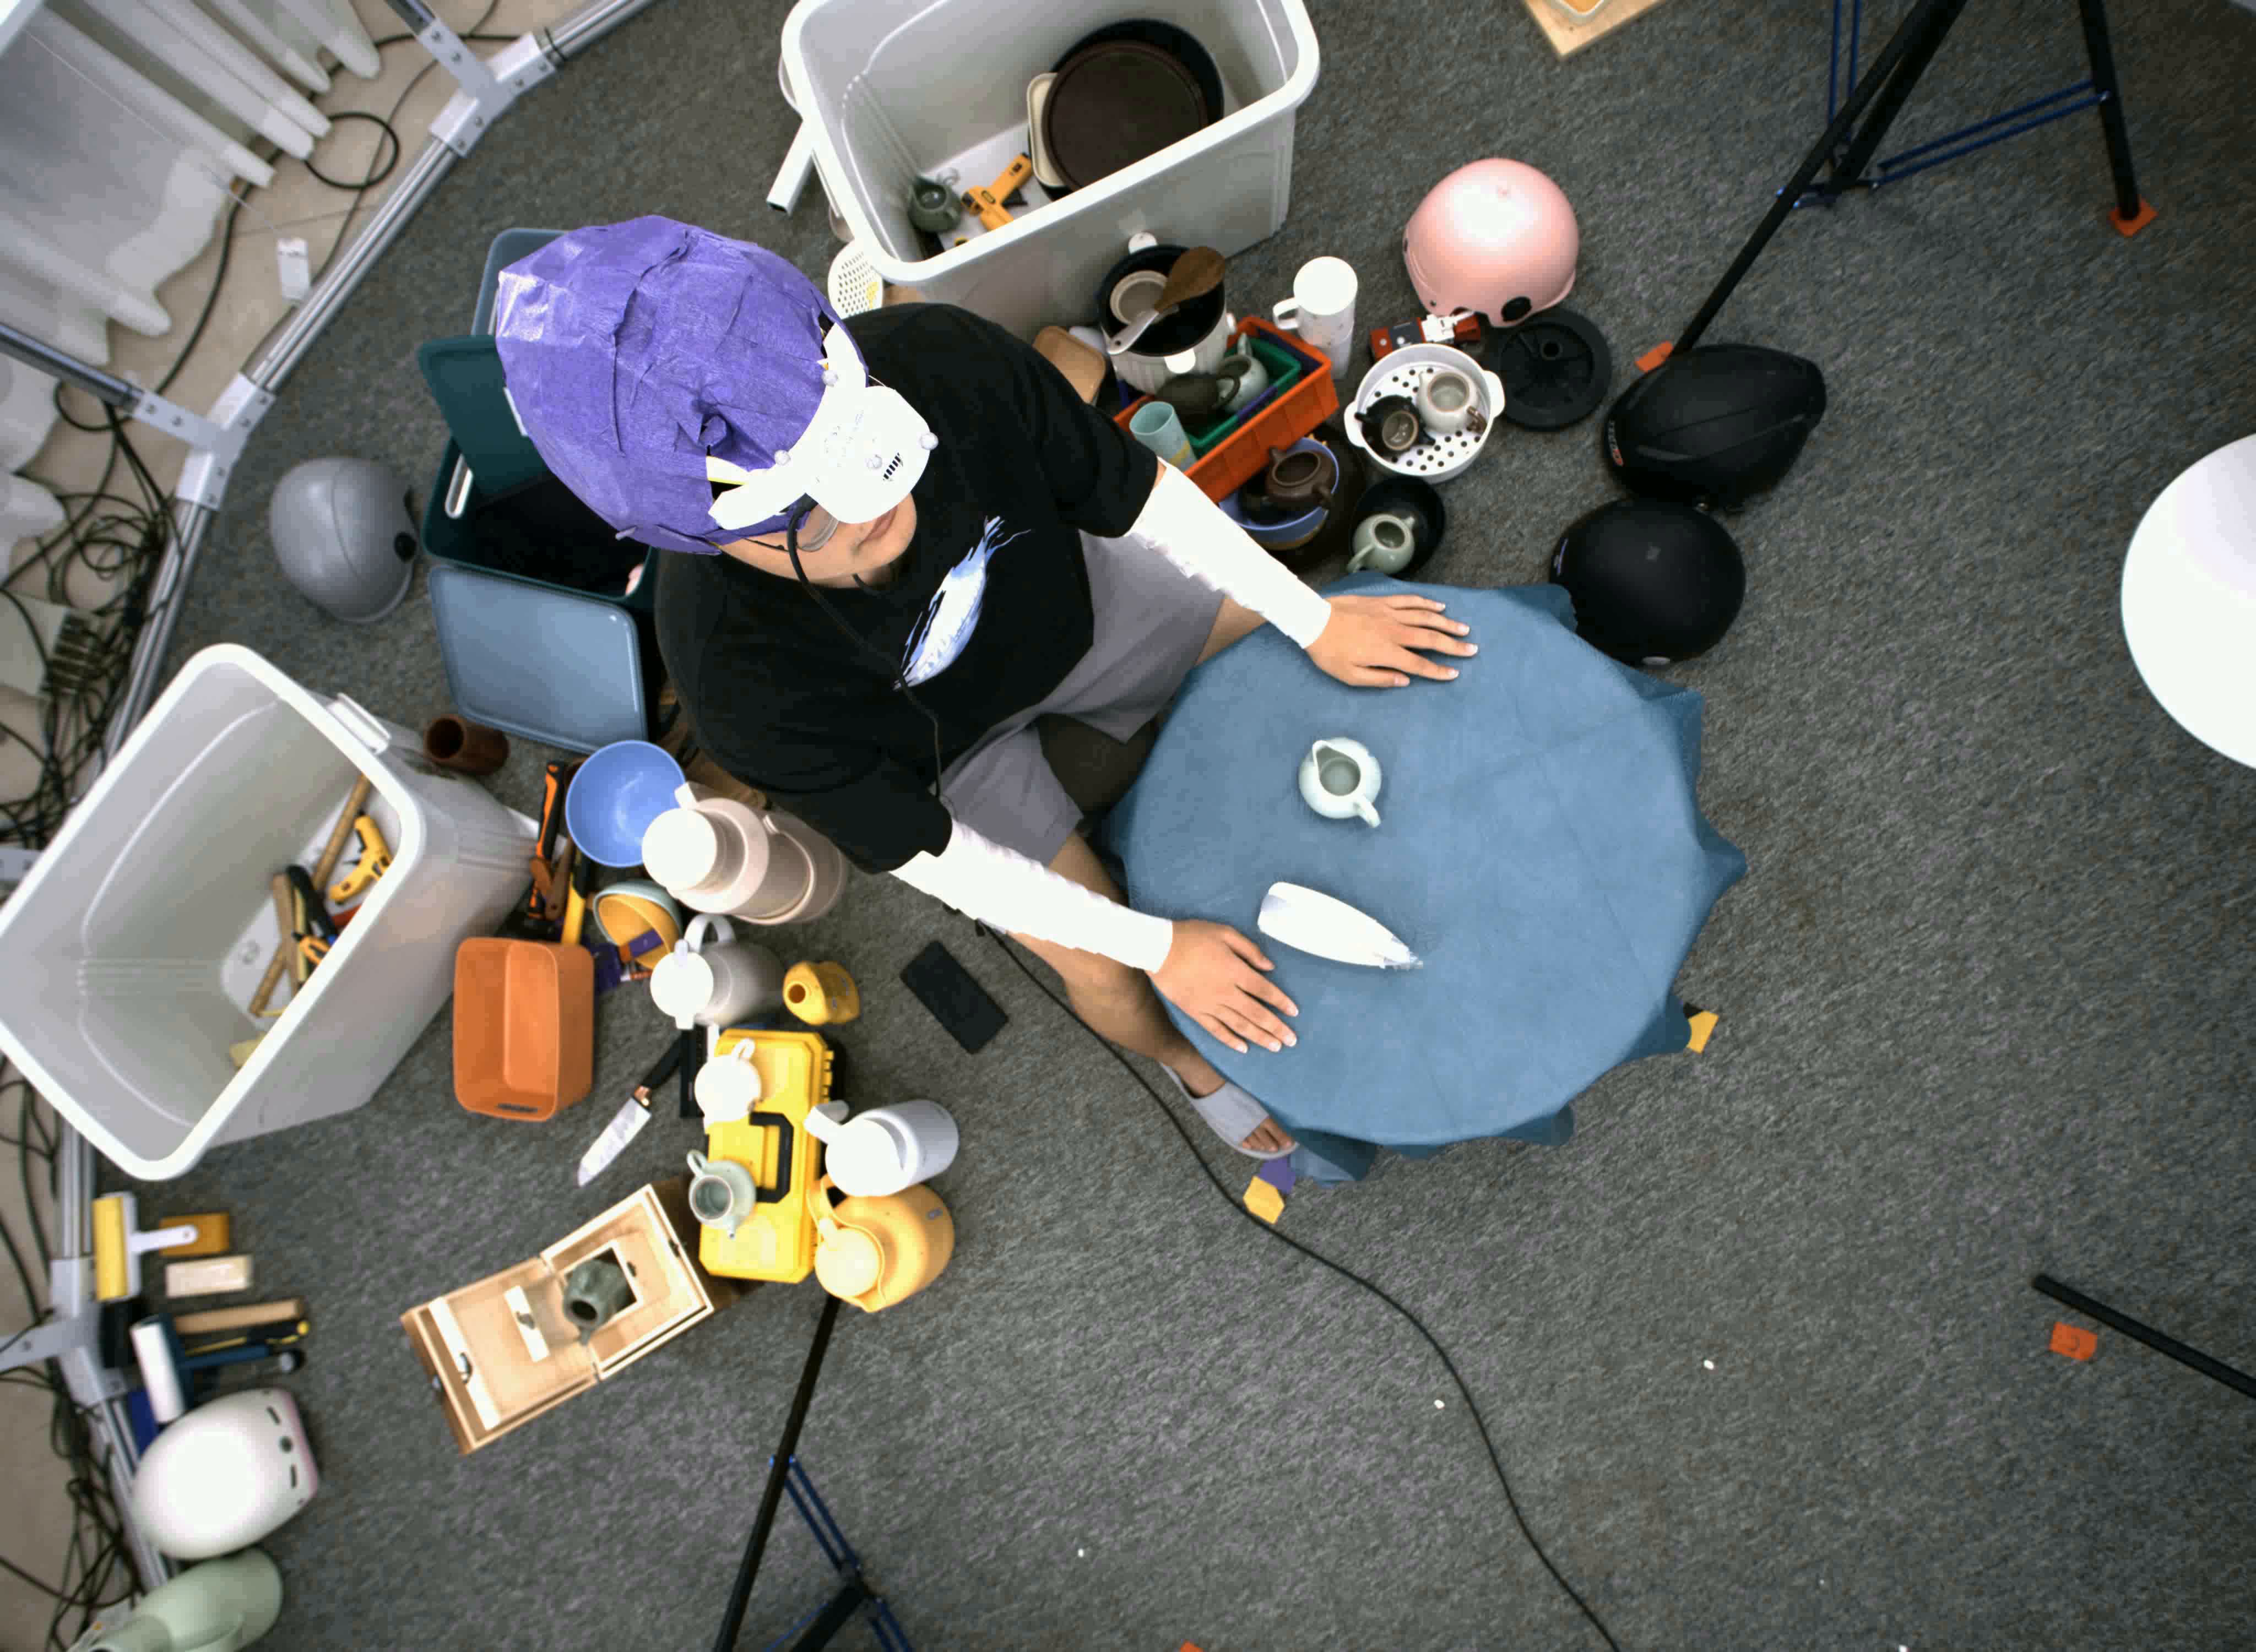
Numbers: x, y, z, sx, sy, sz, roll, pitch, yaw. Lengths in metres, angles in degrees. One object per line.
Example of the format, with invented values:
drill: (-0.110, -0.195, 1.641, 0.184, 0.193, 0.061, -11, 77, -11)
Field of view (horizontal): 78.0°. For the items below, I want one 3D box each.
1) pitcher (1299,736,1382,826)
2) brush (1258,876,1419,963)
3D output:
pitcher: (0.229, -0.045, 1.444, 0.086, 0.060, 0.107, -40, 82, 6)
brush: (0.217, 0.104, 1.421, 0.175, 0.094, 0.061, 21, 93, 9)
